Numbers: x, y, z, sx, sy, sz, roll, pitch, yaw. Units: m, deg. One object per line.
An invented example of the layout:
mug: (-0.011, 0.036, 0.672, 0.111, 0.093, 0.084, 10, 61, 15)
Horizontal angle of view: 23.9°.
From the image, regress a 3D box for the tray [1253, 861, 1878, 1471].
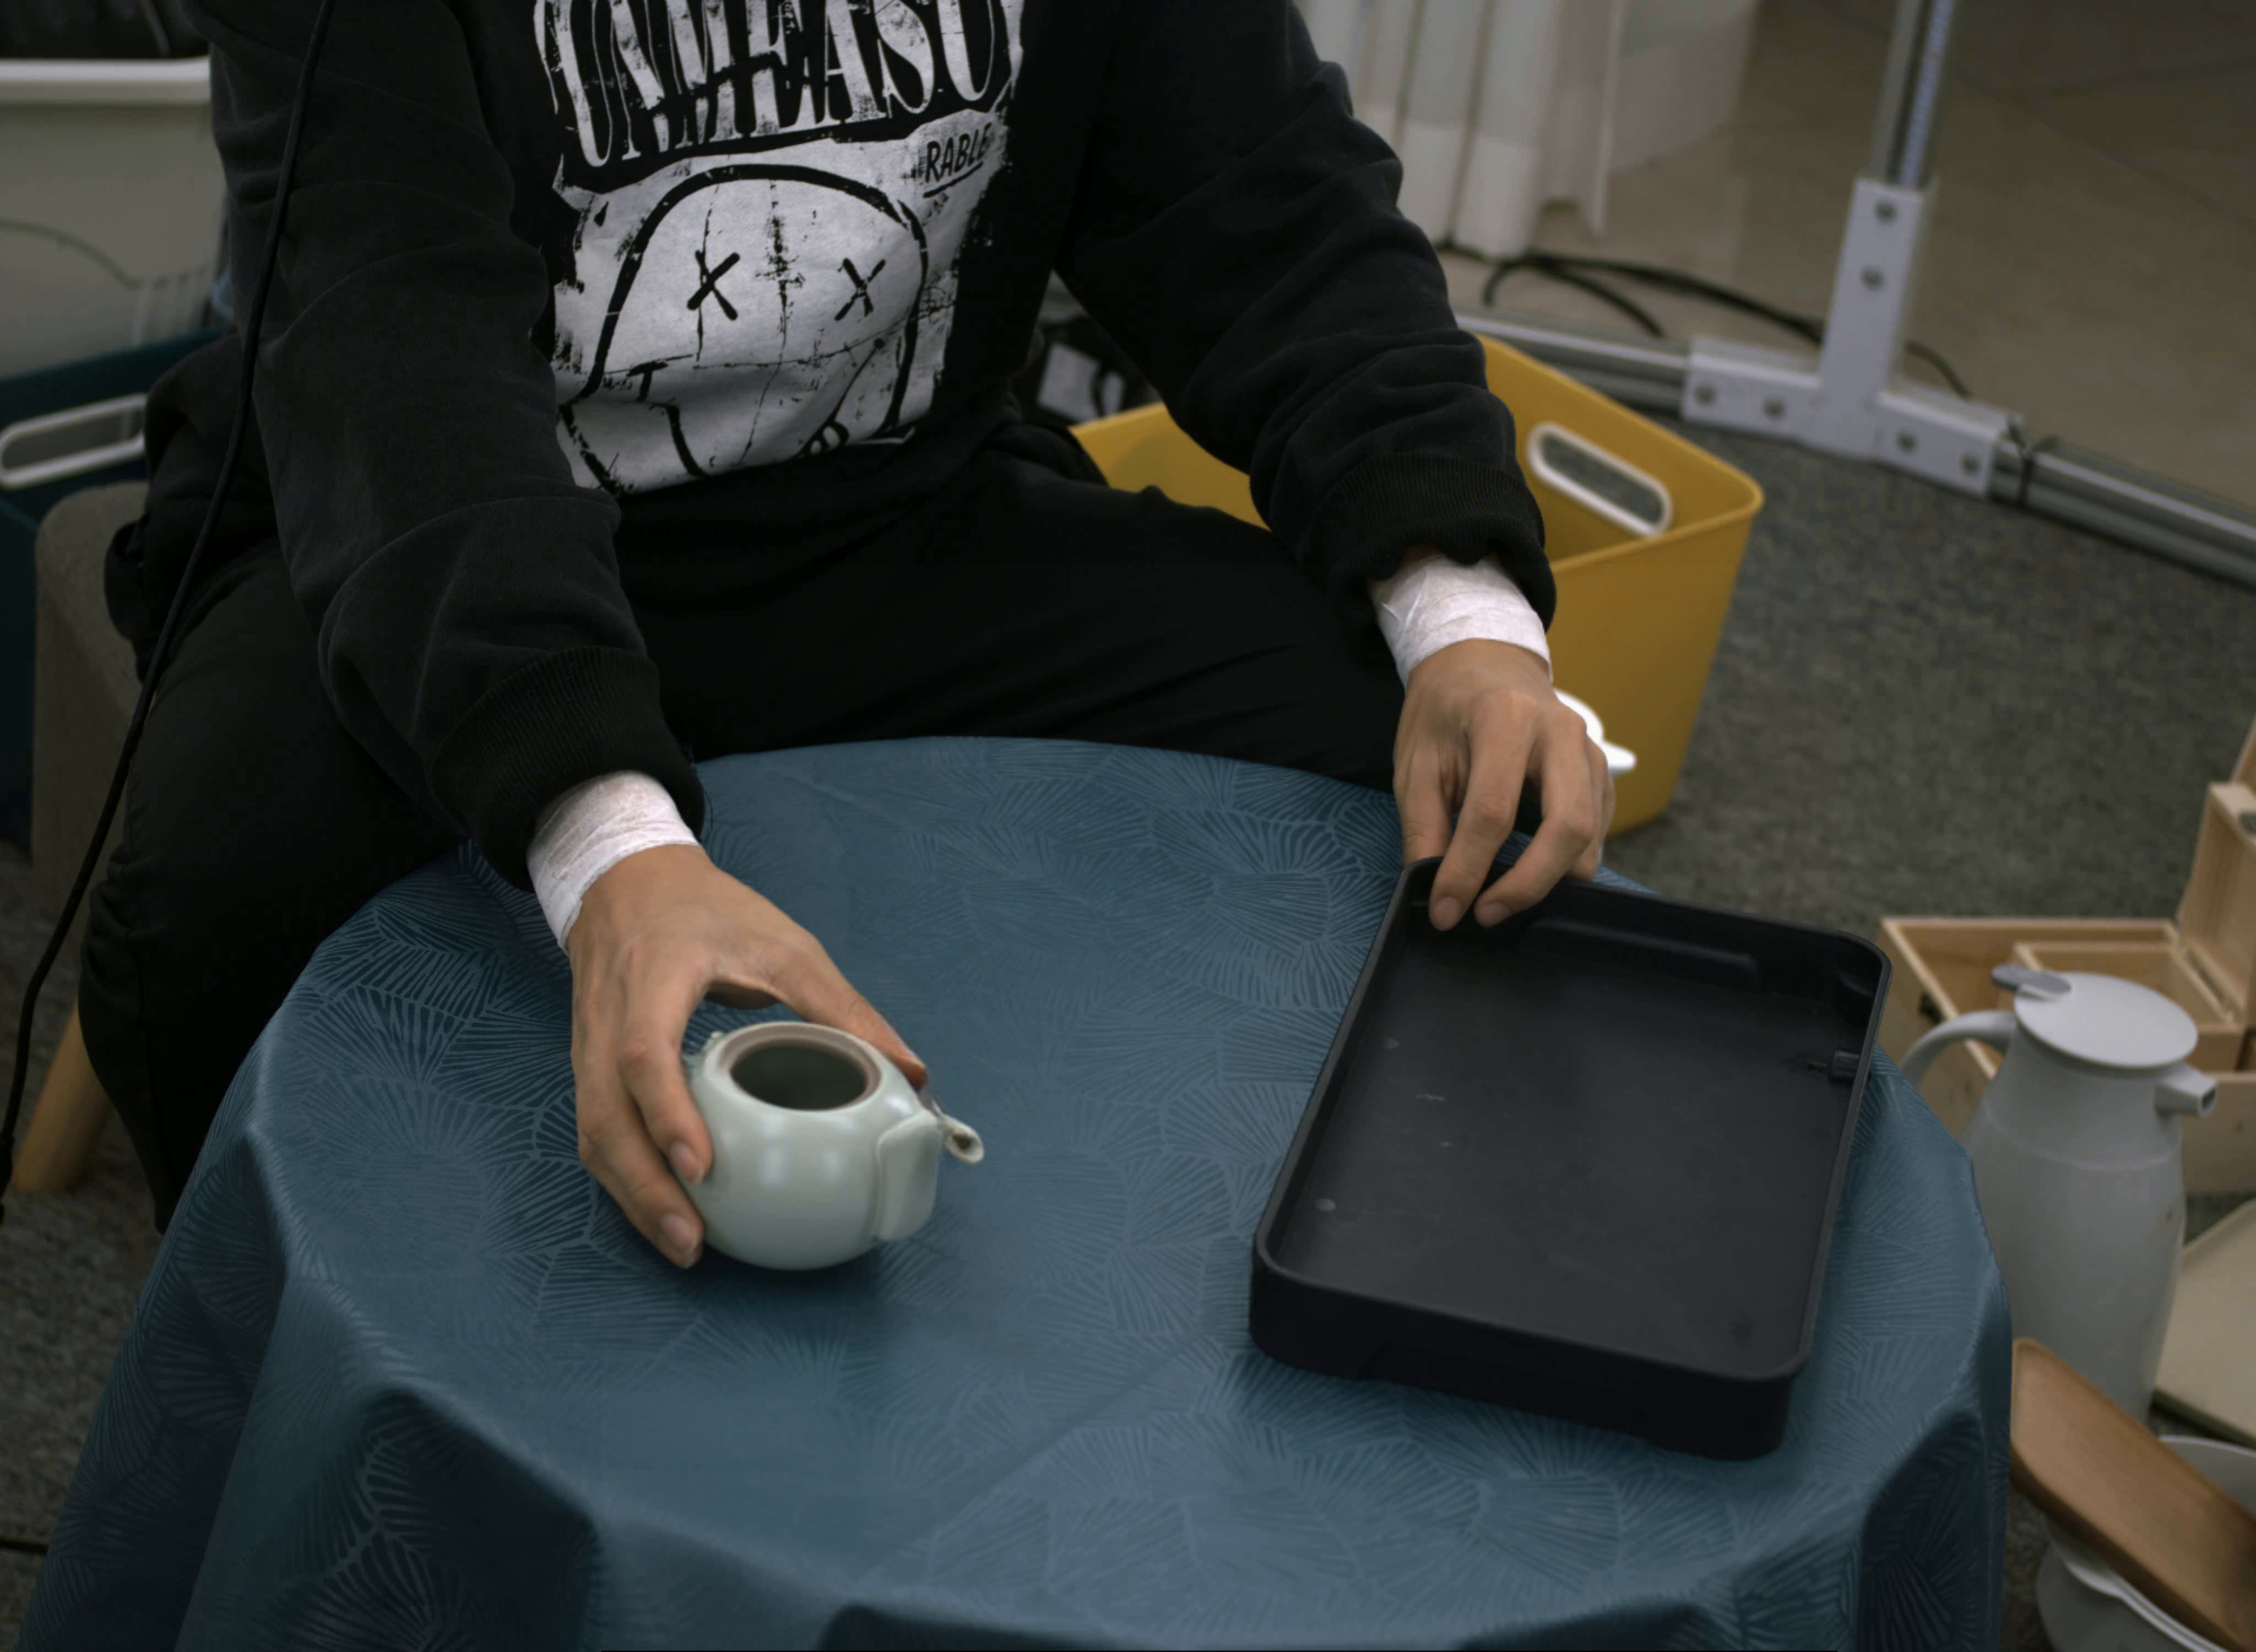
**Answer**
tray: (0.155, 0.109, 1.828, 0.184, 0.037, 0.319, 11, 27, 7)

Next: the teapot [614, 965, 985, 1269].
teapot: (-0.110, 0.103, 1.739, 0.144, 0.074, 0.088, 27, 33, 26)
